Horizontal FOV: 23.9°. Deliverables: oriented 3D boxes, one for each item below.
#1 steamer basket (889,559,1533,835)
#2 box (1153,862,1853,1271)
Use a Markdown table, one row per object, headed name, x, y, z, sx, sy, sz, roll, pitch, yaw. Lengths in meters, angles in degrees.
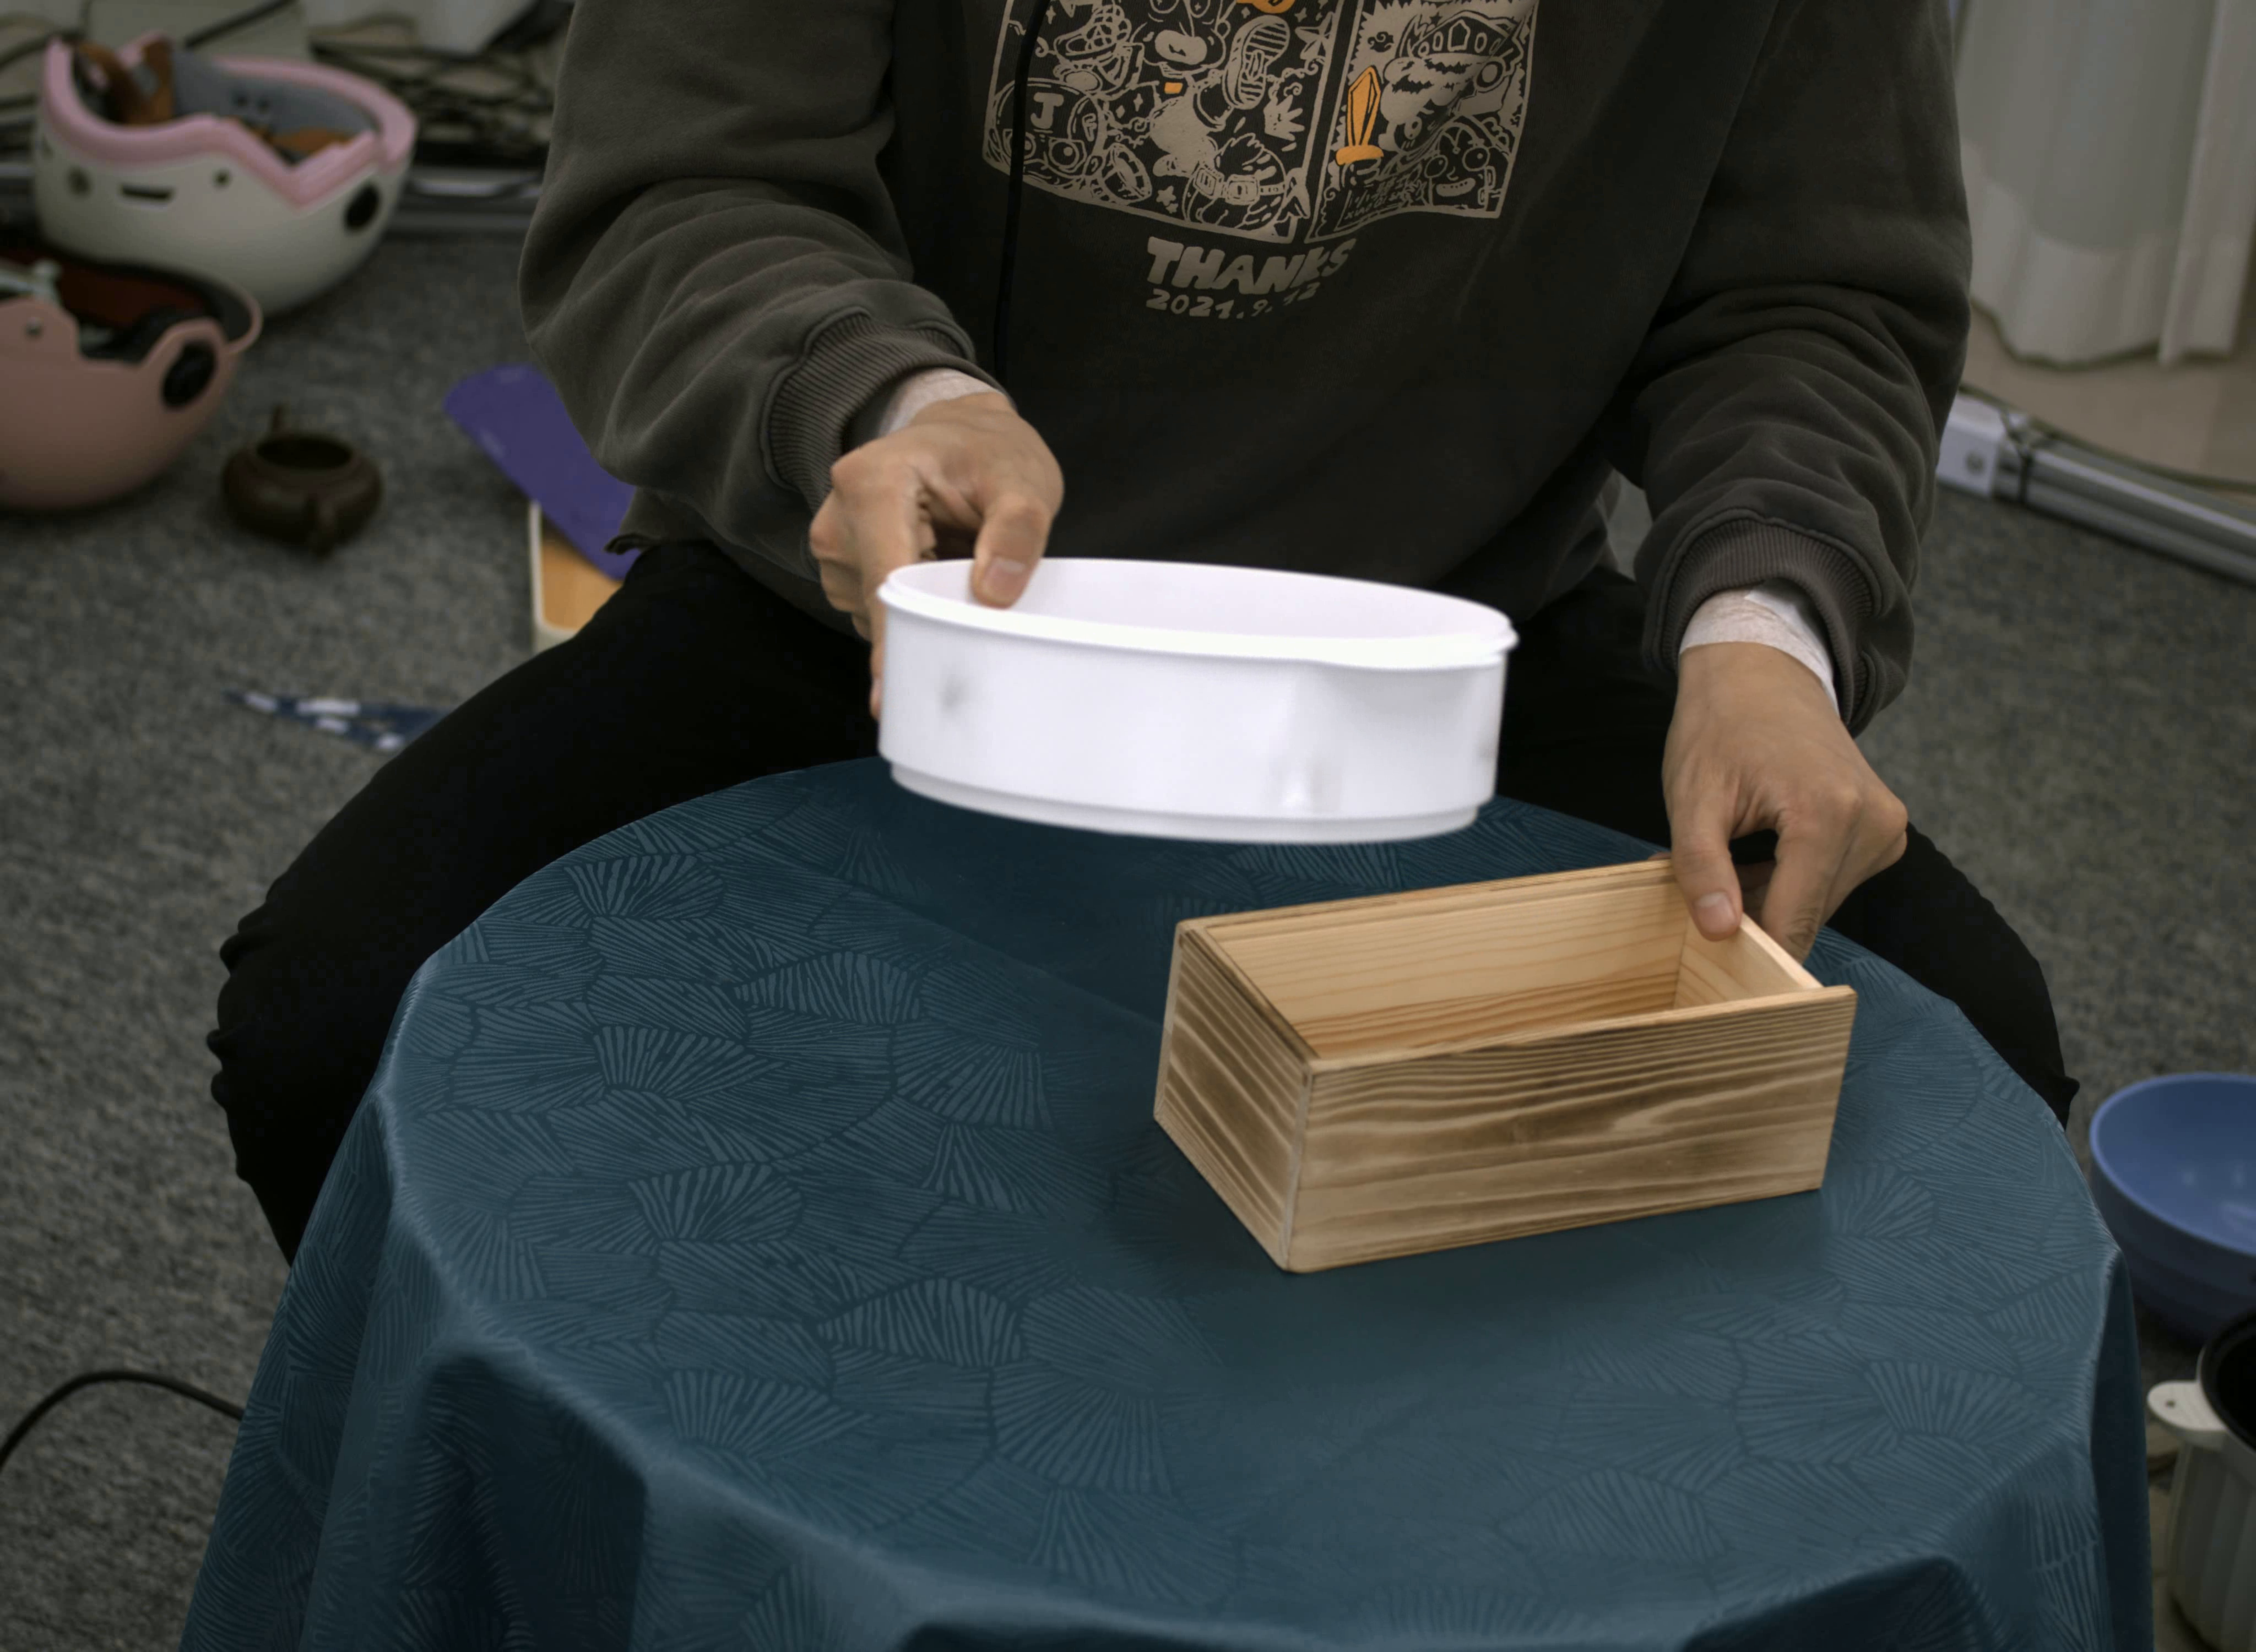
| name | x | y | z | sx | sy | sz | roll | pitch | yaw |
| --- | --- | --- | --- | --- | --- | --- | --- | --- | --- |
| steamer basket | 0.023 | -0.040 | 1.660 | 0.200 | 0.069 | 0.232 | 0 | 8 | -40 |
| box | 0.128 | 0.080 | 1.830 | 0.210 | 0.080 | 0.108 | -7 | 29 | -25 |
